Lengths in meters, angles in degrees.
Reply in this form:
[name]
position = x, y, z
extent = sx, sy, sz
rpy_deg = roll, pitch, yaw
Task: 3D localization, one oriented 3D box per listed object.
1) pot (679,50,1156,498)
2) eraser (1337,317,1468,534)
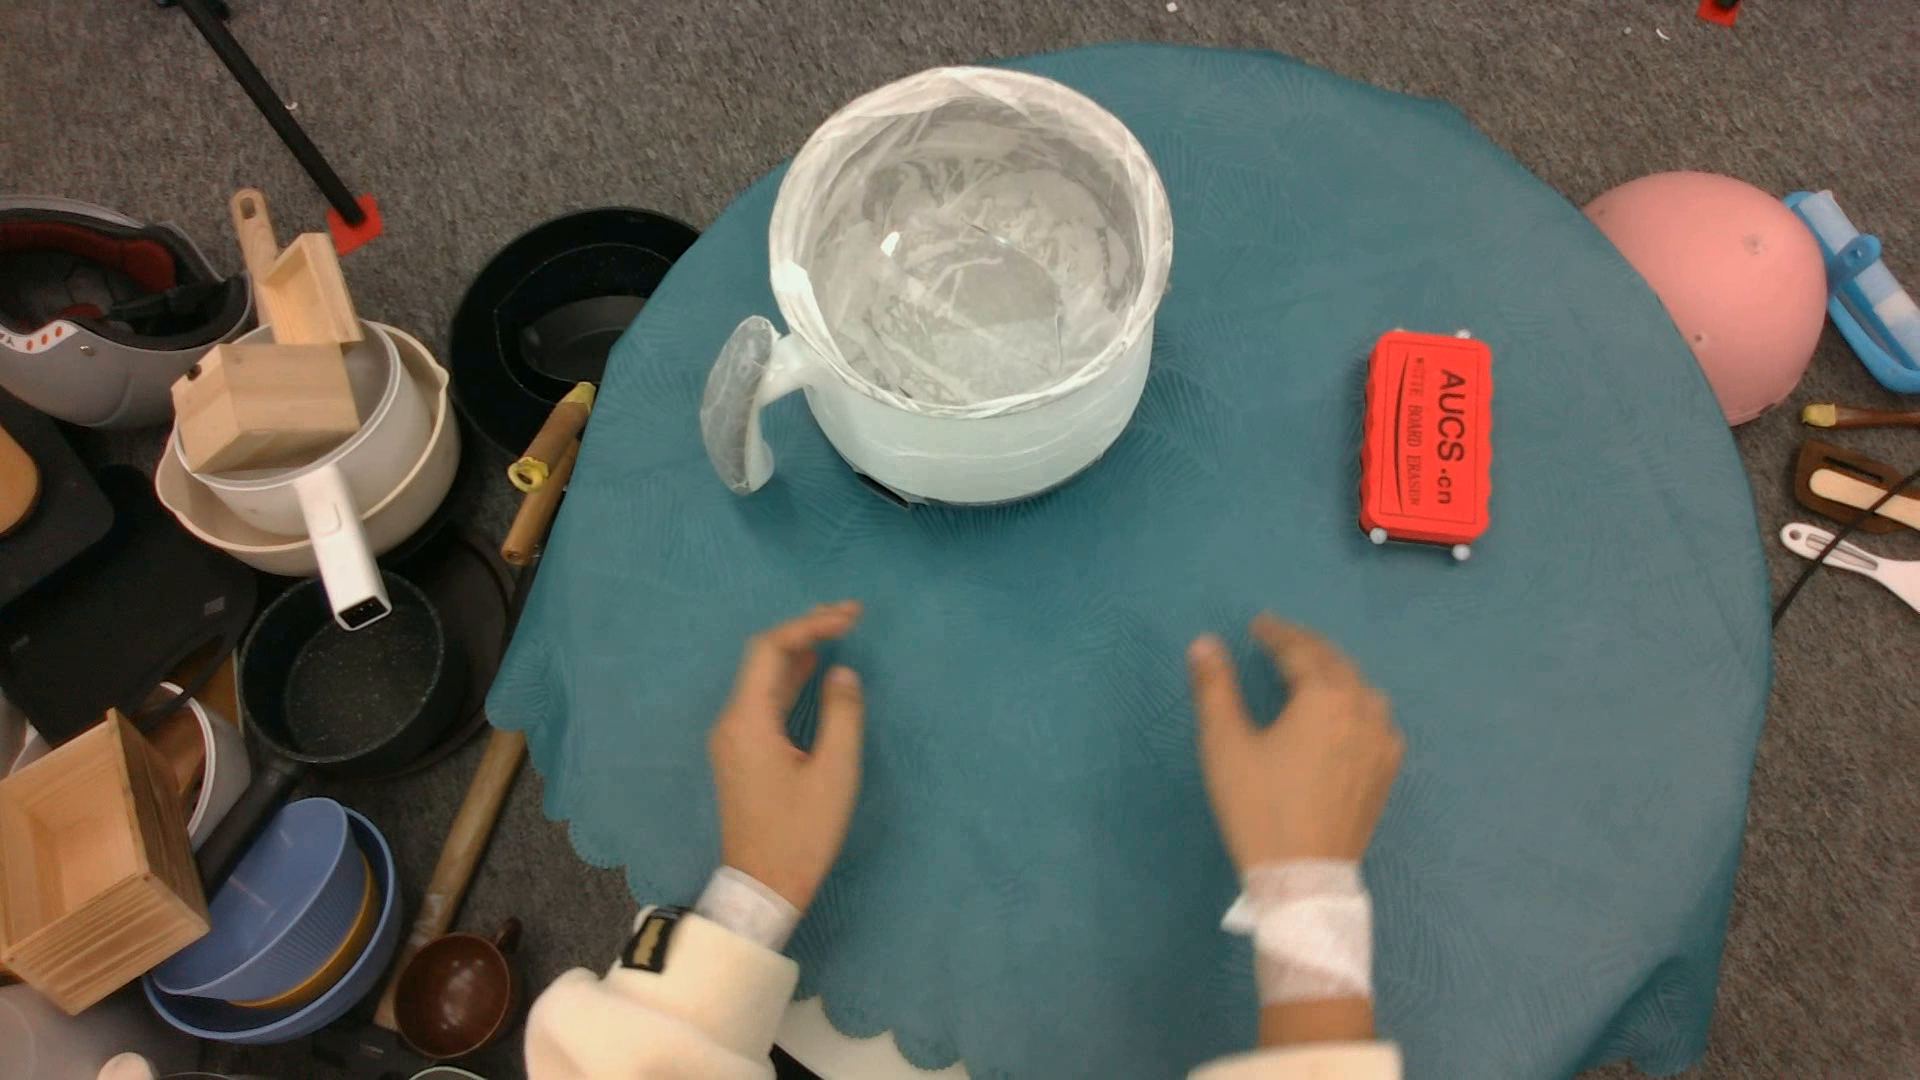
[pot]
position = -0.027, -0.106, 0.652
extent = 0.234, 0.136, 0.179
rpy_deg = -28, 70, -10
[eraser]
position = 0.223, -0.058, 0.692
extent = 0.059, 0.023, 0.108
rpy_deg = 7, 70, 7
